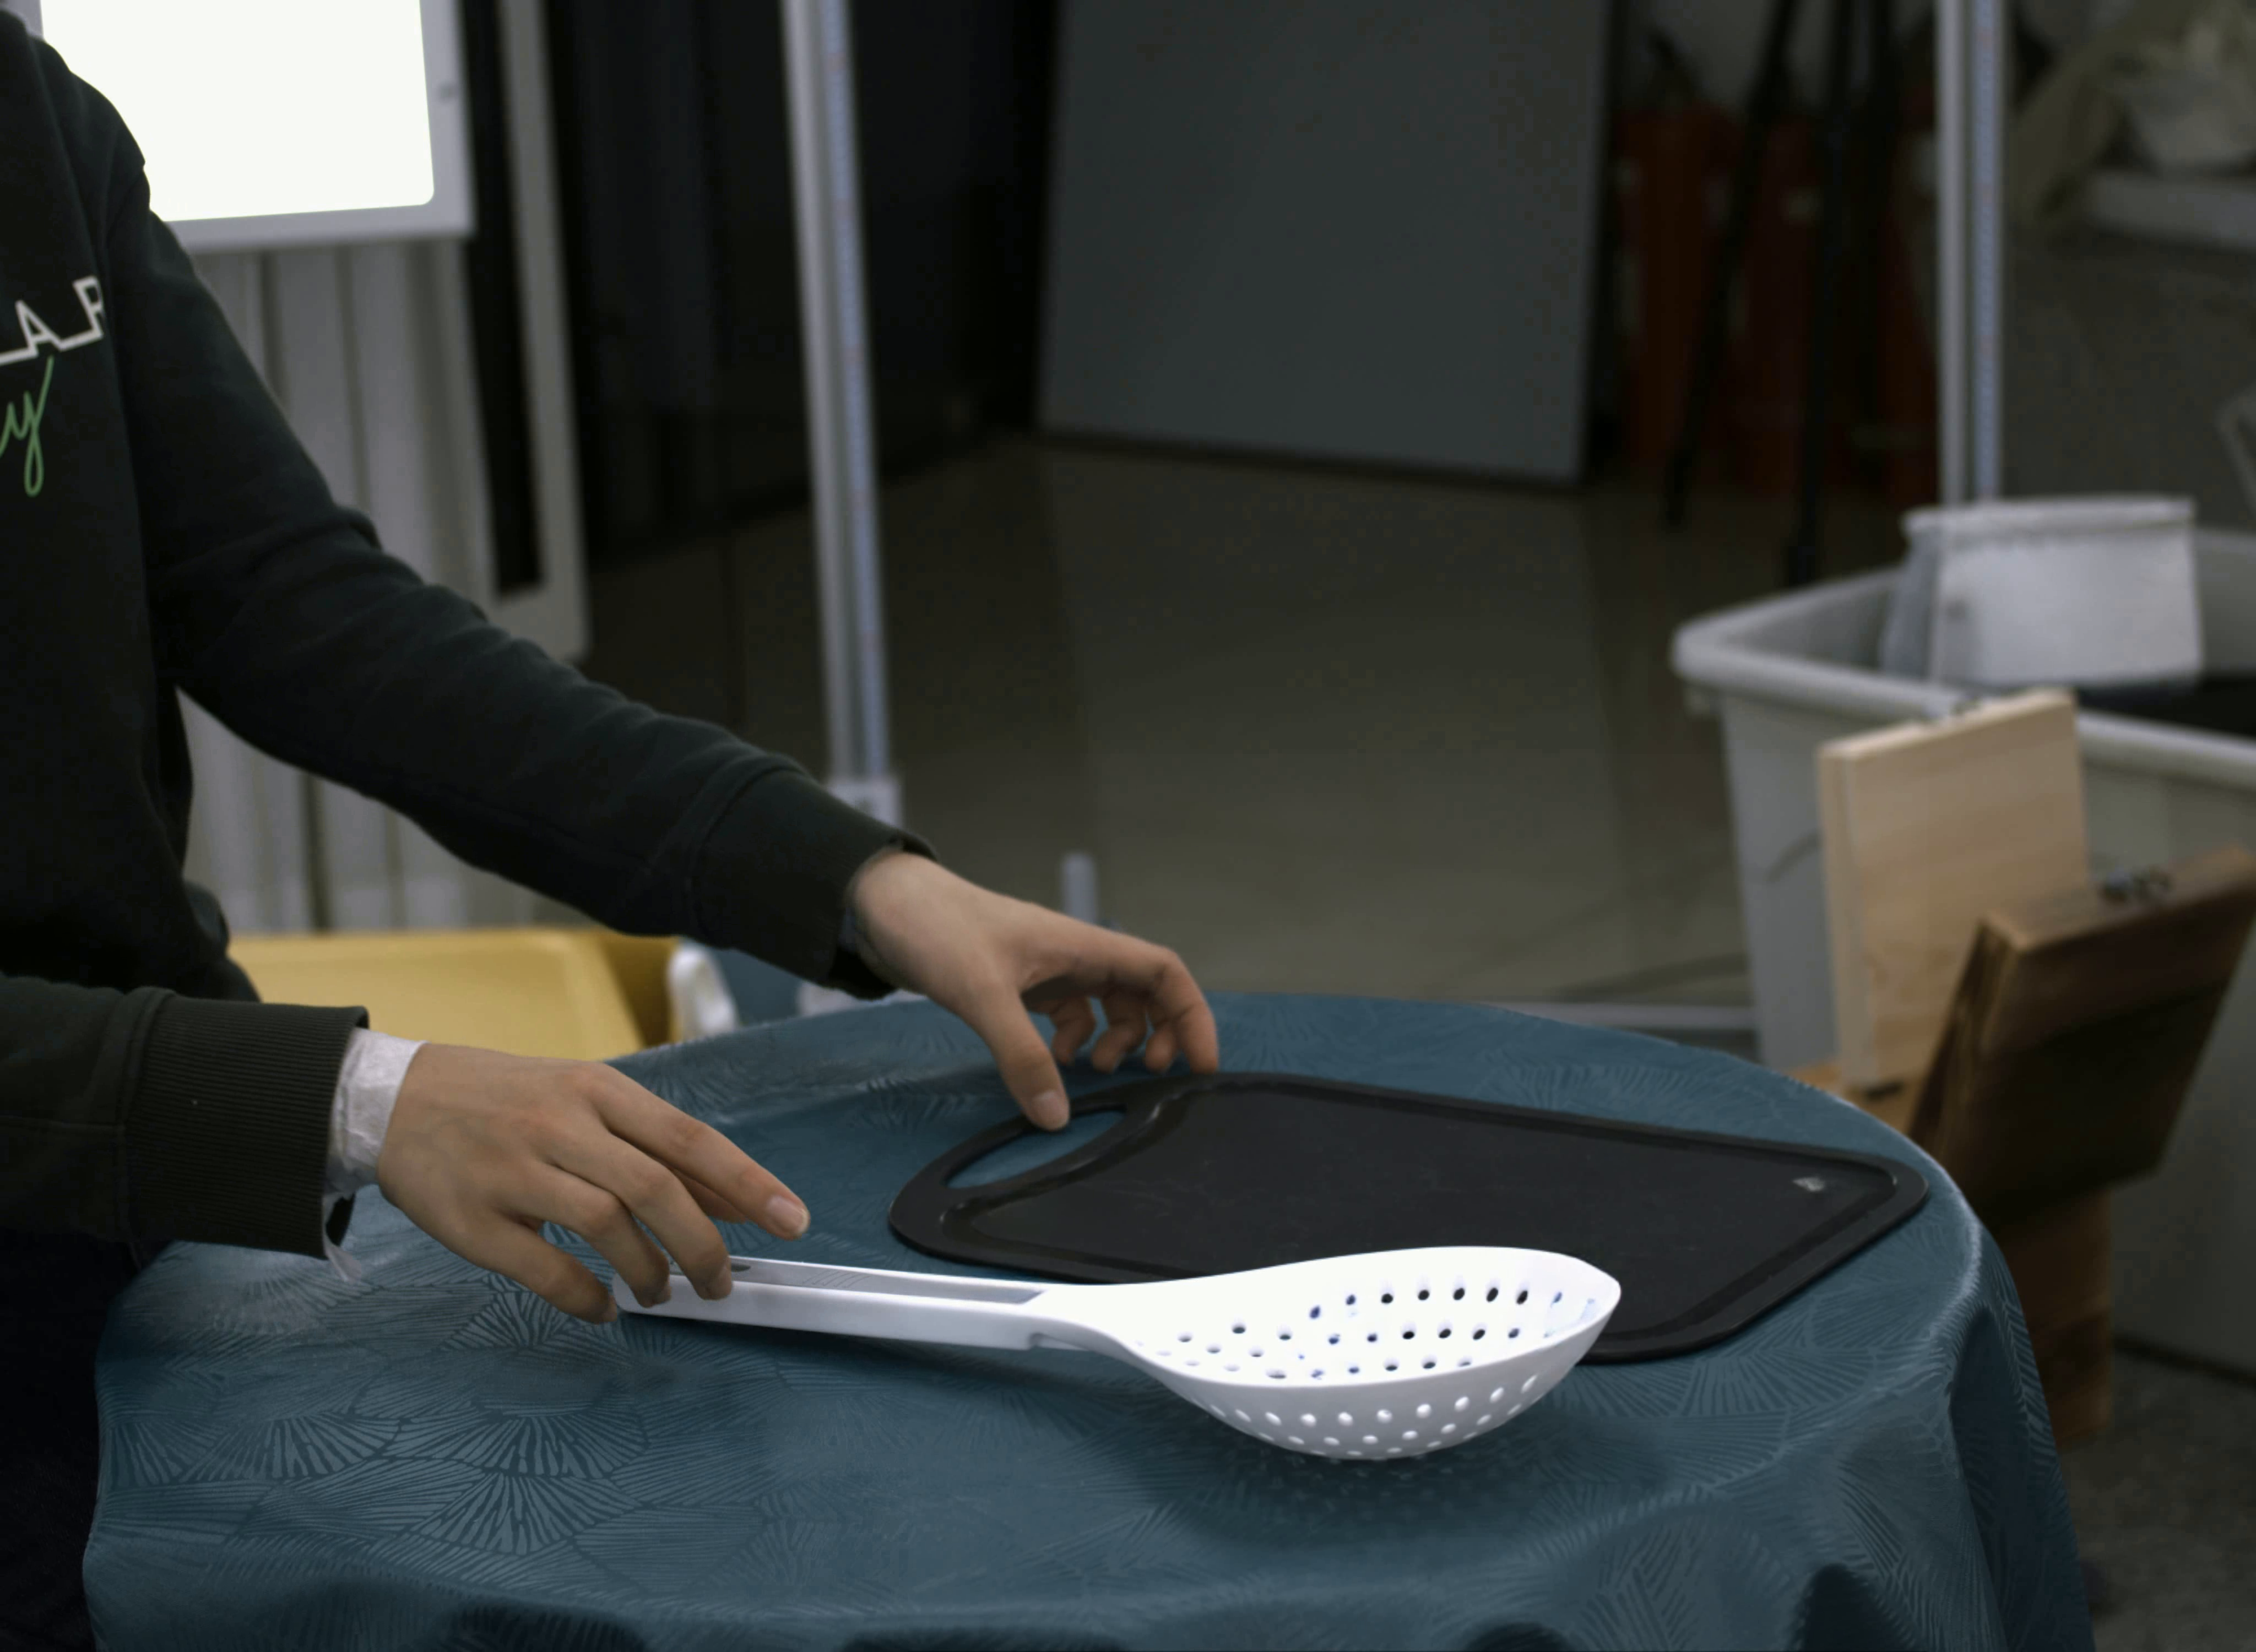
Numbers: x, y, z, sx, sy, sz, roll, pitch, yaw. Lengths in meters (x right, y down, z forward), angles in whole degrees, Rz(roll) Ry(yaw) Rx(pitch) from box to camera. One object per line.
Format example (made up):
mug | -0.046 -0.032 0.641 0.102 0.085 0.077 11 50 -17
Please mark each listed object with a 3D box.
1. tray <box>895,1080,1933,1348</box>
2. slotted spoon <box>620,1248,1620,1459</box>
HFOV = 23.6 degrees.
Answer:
tray | 0.083 0.120 1.736 0.327 0.010 0.207 5 16 35
slotted spoon | -0.013 0.145 1.586 0.352 0.046 0.133 5 14 36
